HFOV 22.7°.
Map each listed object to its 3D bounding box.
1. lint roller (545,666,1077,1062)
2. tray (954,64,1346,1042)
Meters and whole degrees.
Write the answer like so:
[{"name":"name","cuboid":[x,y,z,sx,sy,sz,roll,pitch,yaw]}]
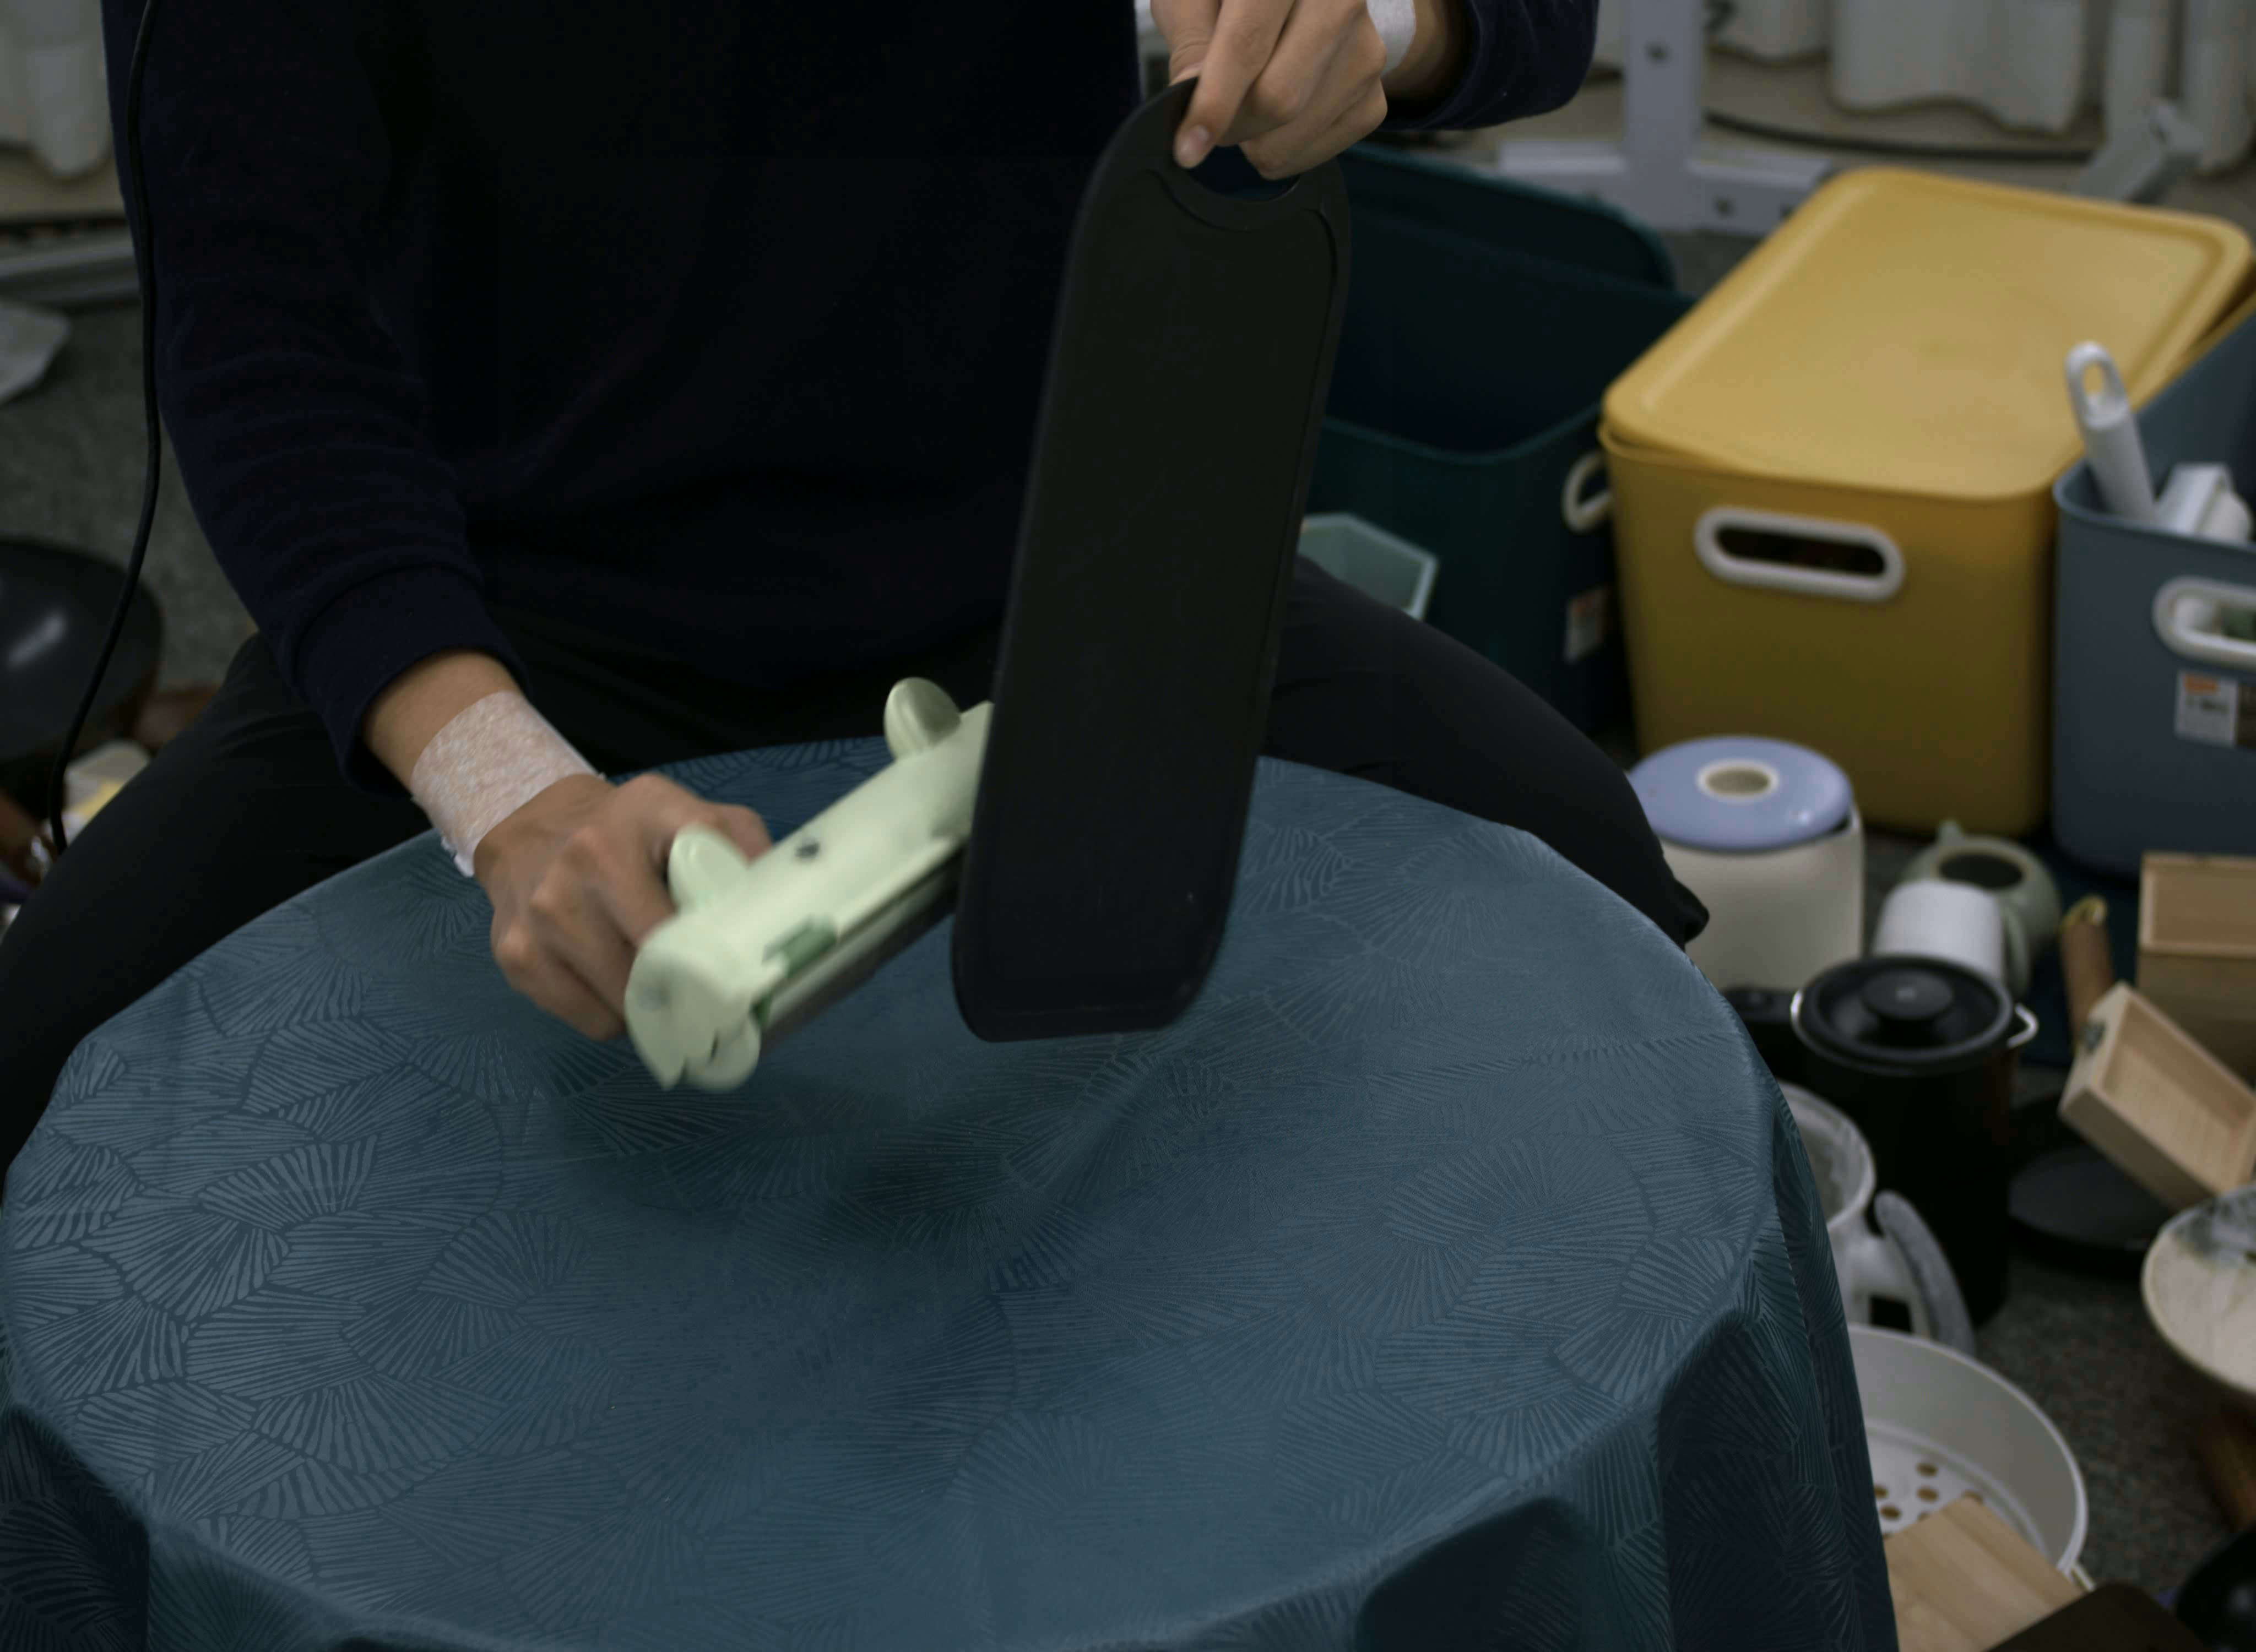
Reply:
[{"name":"lint roller","cuboid":[-0.131,0.010,1.847,0.181,0.082,0.201,-2,21,37]},{"name":"tray","cuboid":[0.012,-0.089,1.869,0.010,0.326,0.212,11,2,26]}]
